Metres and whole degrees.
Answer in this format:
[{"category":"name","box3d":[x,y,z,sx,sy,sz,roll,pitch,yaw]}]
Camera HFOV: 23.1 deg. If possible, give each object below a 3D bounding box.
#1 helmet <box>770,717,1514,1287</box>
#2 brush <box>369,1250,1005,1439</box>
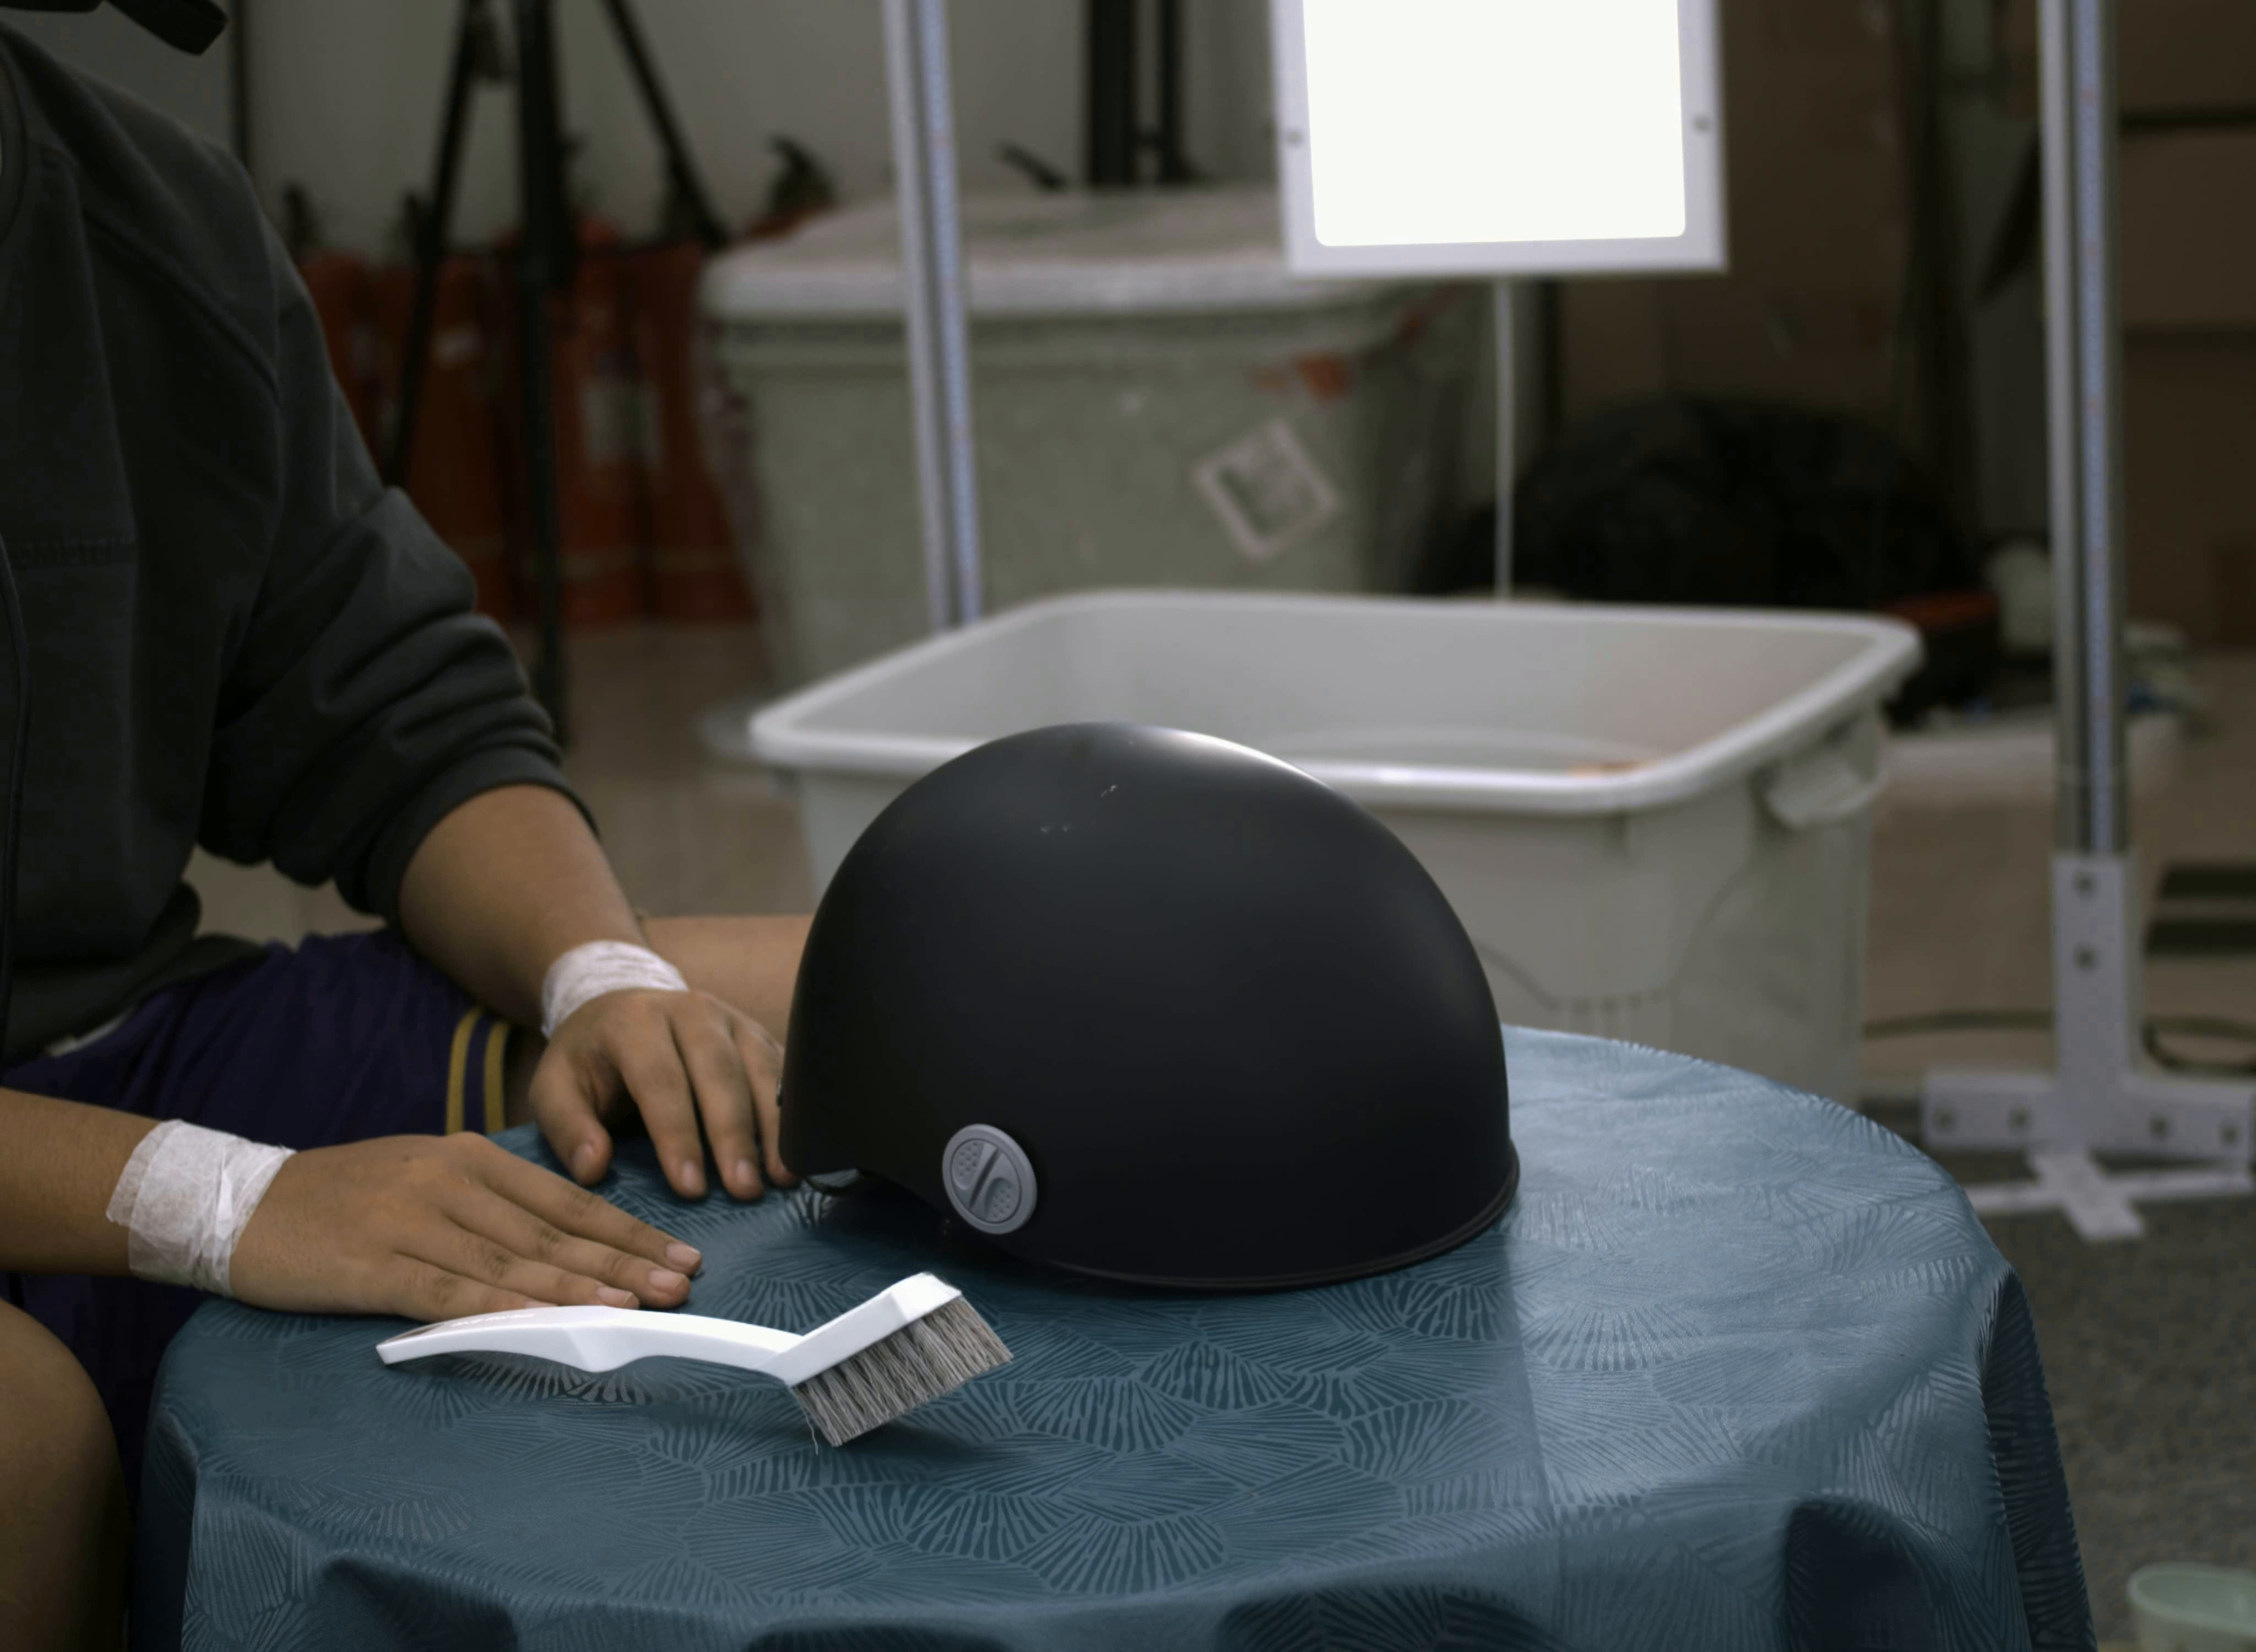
[{"category":"helmet","box3d":[0.003,0.050,1.877,0.224,0.167,0.279,-17,20,-37]},{"category":"brush","box3d":[-0.141,0.171,1.720,0.249,0.050,0.033,-11,7,37]}]
